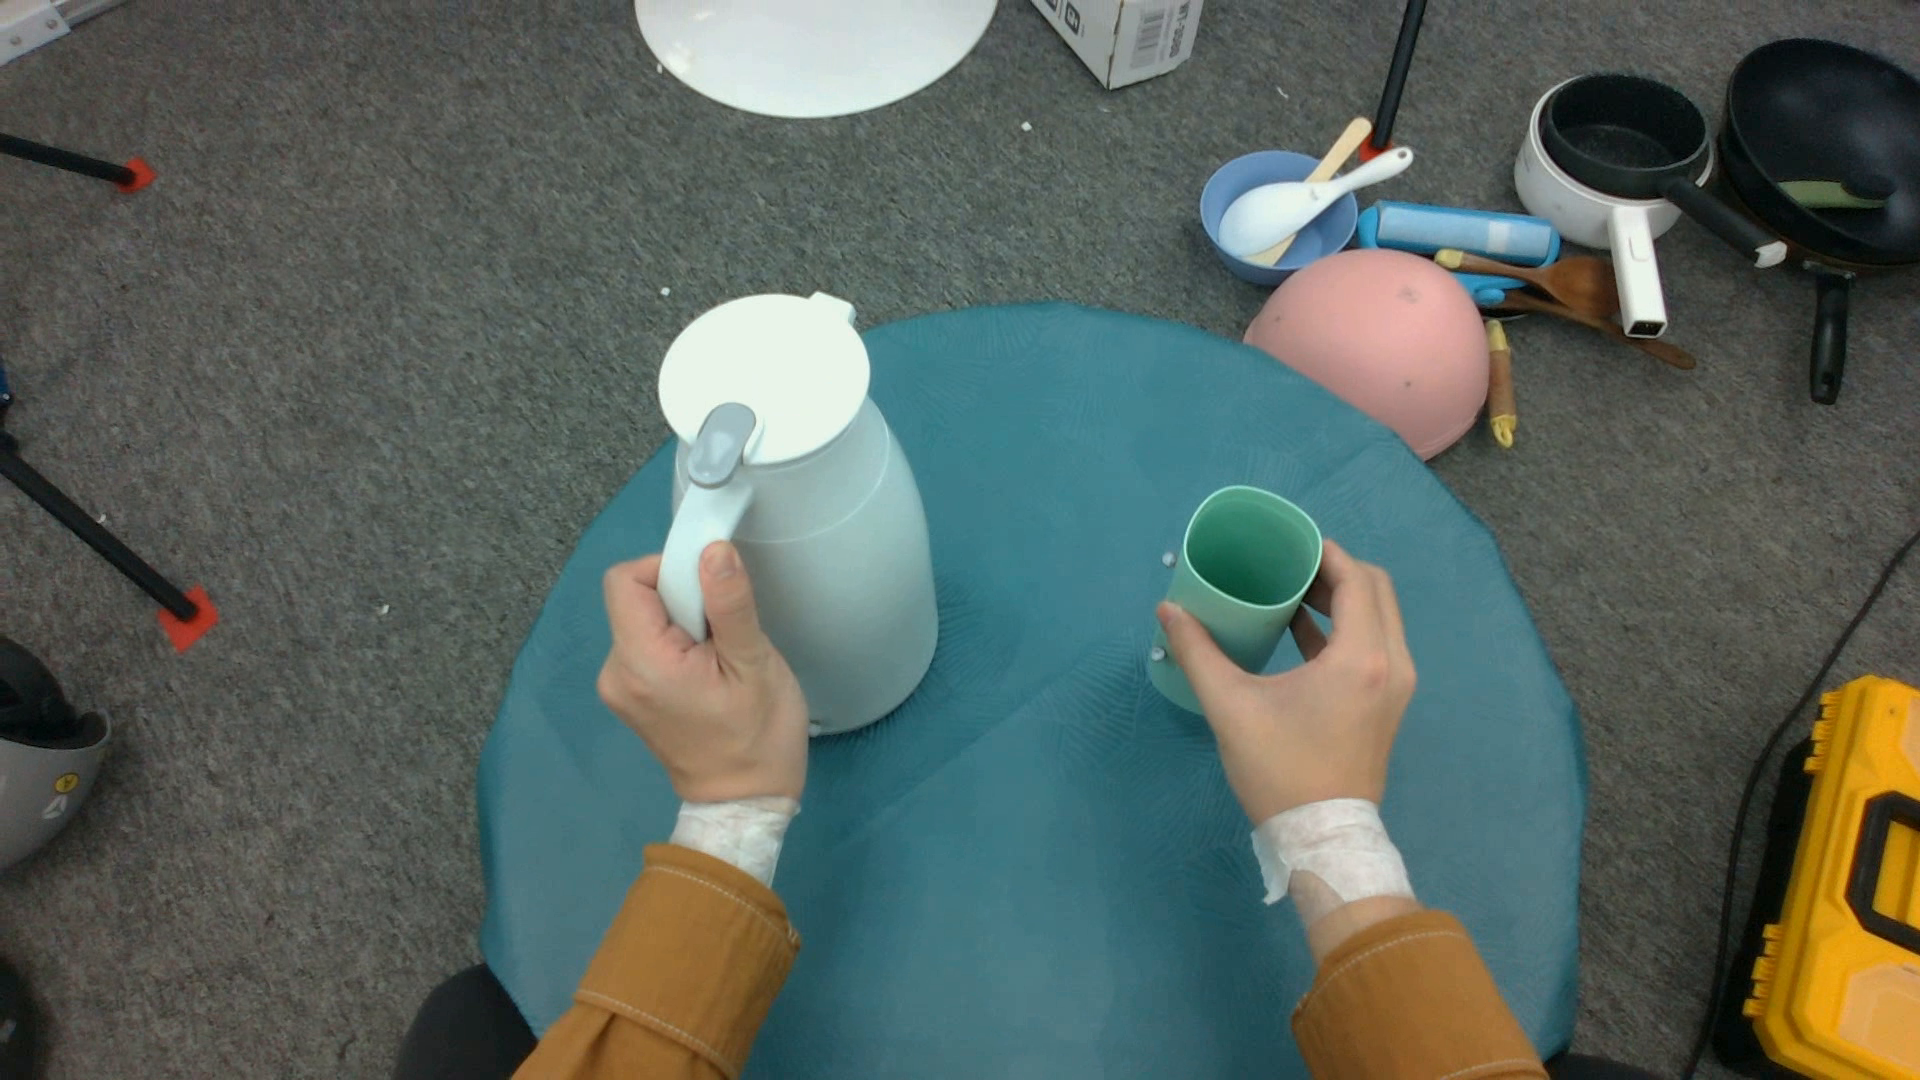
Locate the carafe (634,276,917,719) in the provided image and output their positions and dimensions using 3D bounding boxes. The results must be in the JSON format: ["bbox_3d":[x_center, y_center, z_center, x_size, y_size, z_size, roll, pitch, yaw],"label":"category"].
[{"bbox_3d":[-0.099,-0.003,0.684,0.132,0.247,0.168,20,62,12],"label":"carafe"}]

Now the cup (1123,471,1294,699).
[{"bbox_3d":[0.125,0.027,0.706,0.067,0.132,0.067,1,61,-1],"label":"cup"}]
